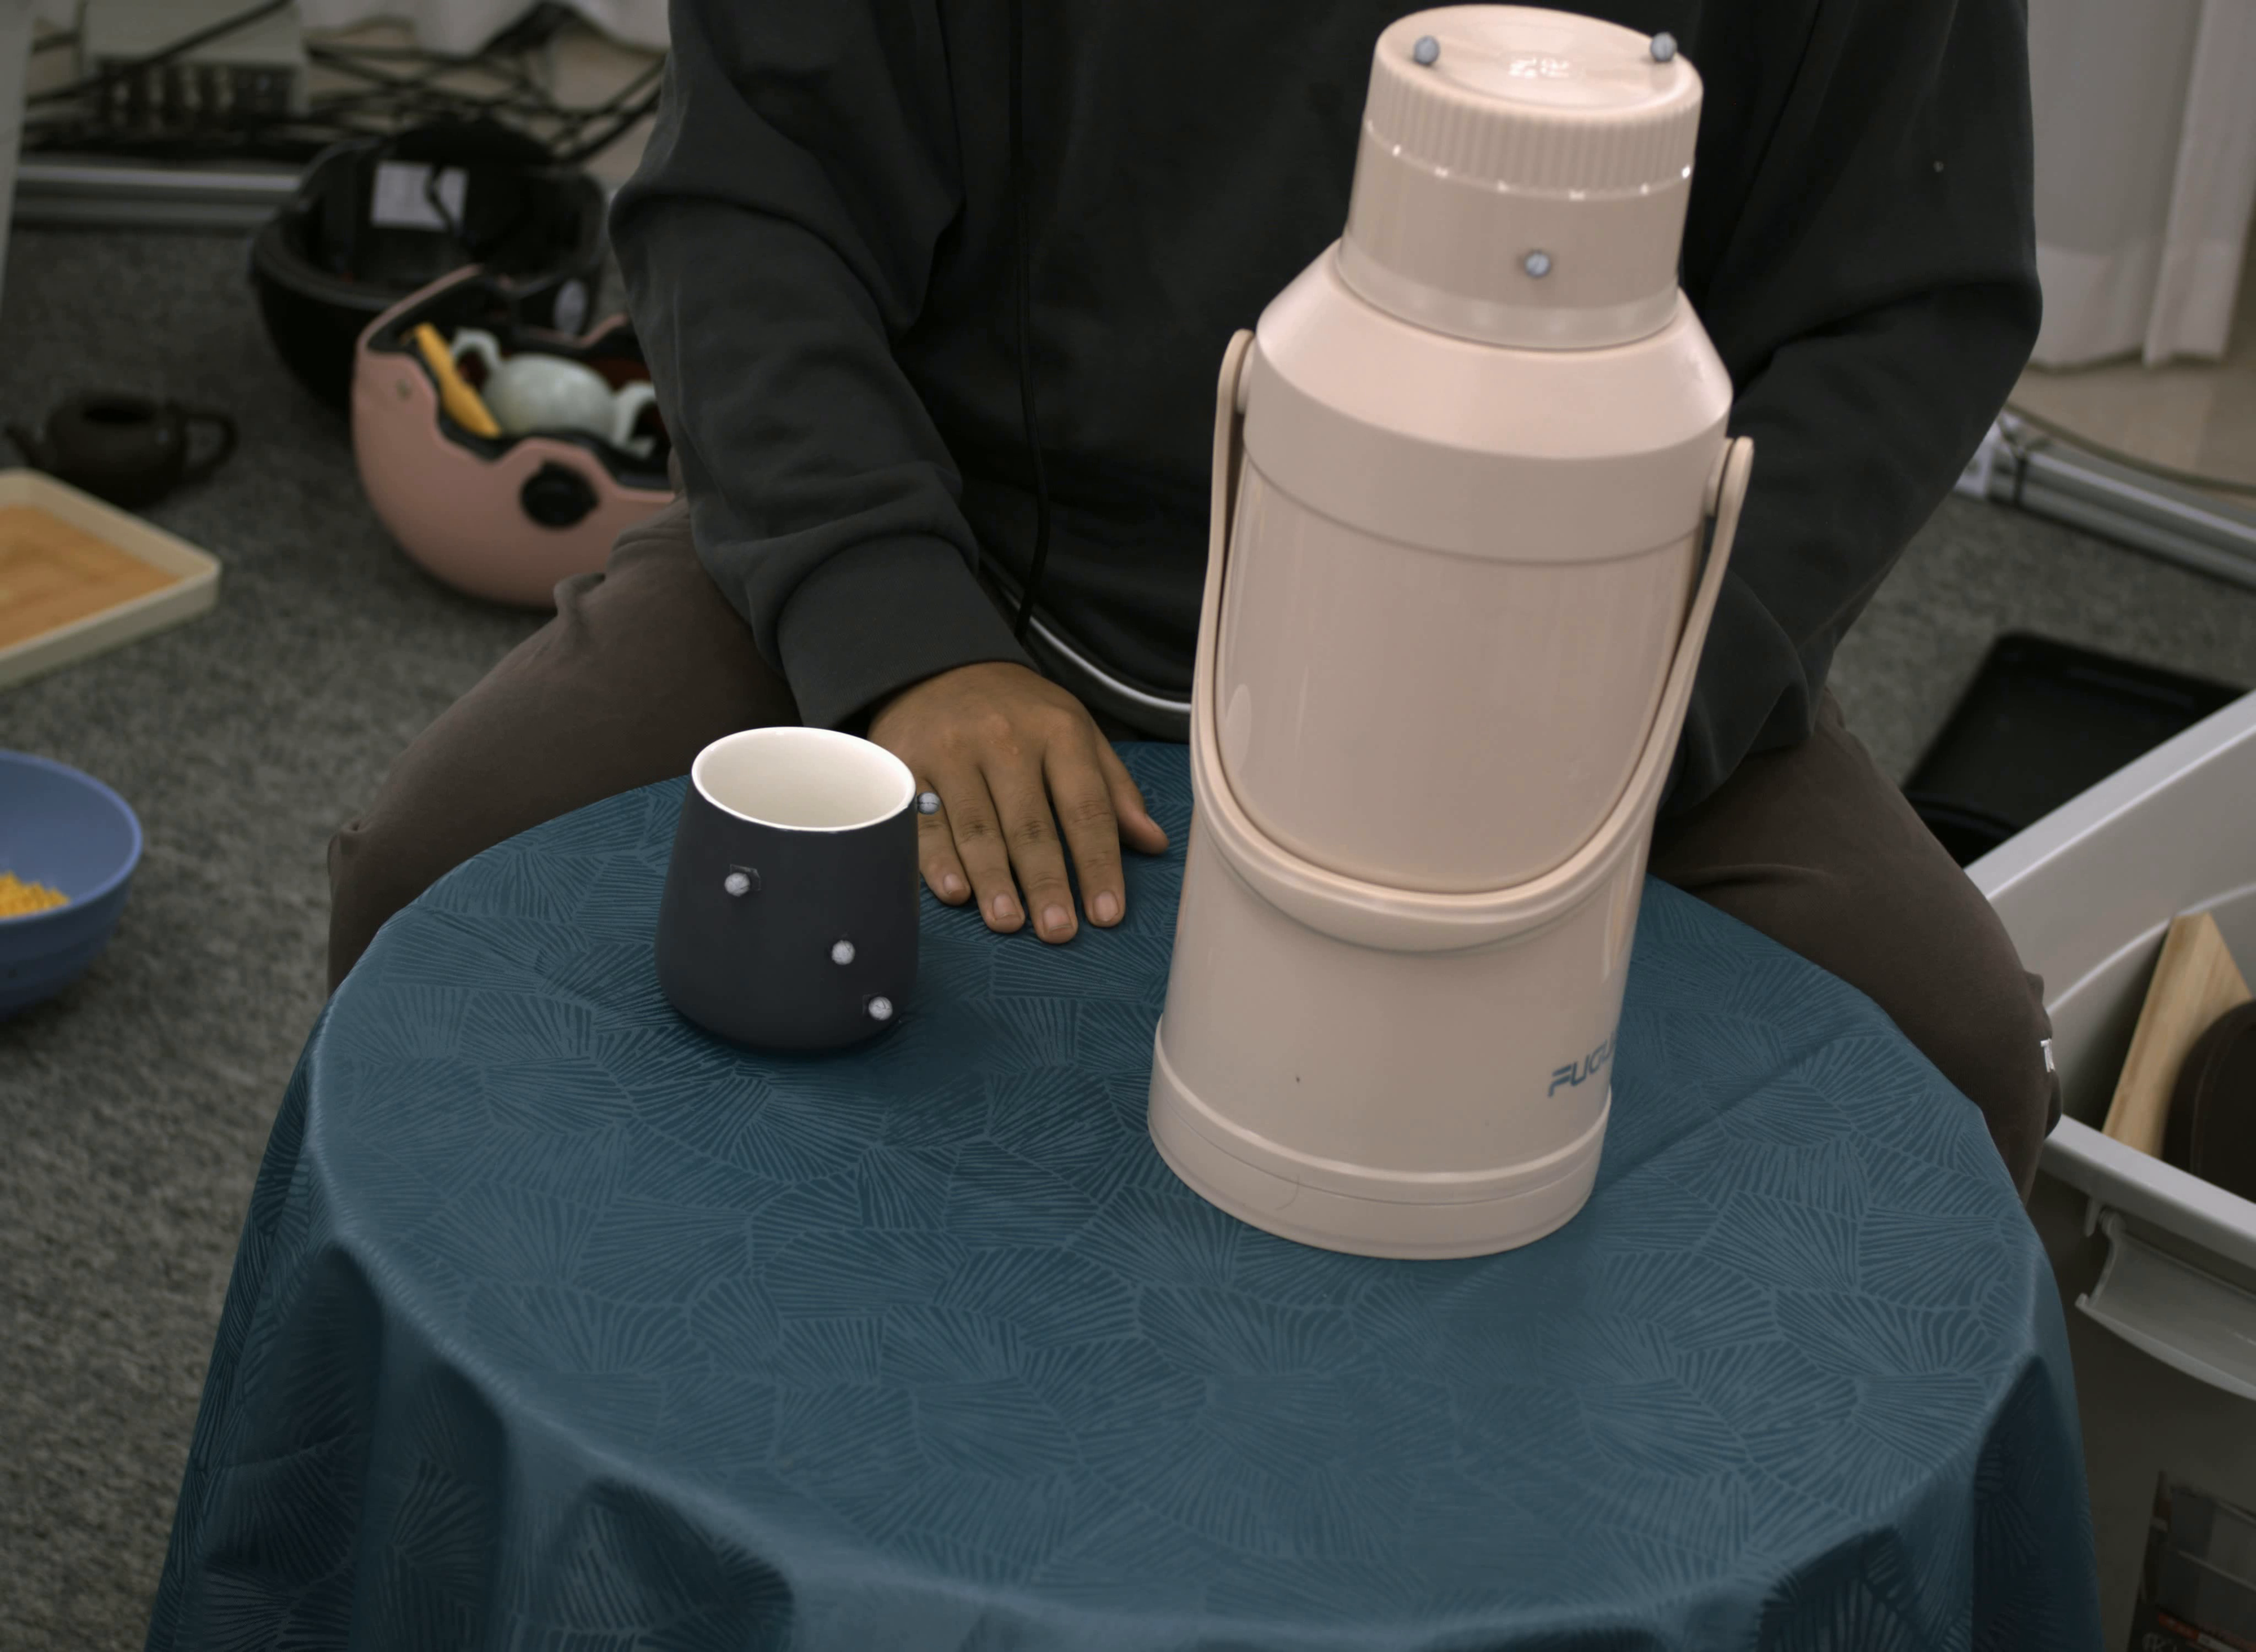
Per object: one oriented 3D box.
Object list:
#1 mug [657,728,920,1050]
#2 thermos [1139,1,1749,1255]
[{"bbox_3d":[-0.112,0.017,1.890,0.094,0.089,0.123,17,28,19],"label":"mug"},{"bbox_3d":[0.110,-0.072,1.781,0.175,0.405,0.207,13,27,11],"label":"thermos"}]
